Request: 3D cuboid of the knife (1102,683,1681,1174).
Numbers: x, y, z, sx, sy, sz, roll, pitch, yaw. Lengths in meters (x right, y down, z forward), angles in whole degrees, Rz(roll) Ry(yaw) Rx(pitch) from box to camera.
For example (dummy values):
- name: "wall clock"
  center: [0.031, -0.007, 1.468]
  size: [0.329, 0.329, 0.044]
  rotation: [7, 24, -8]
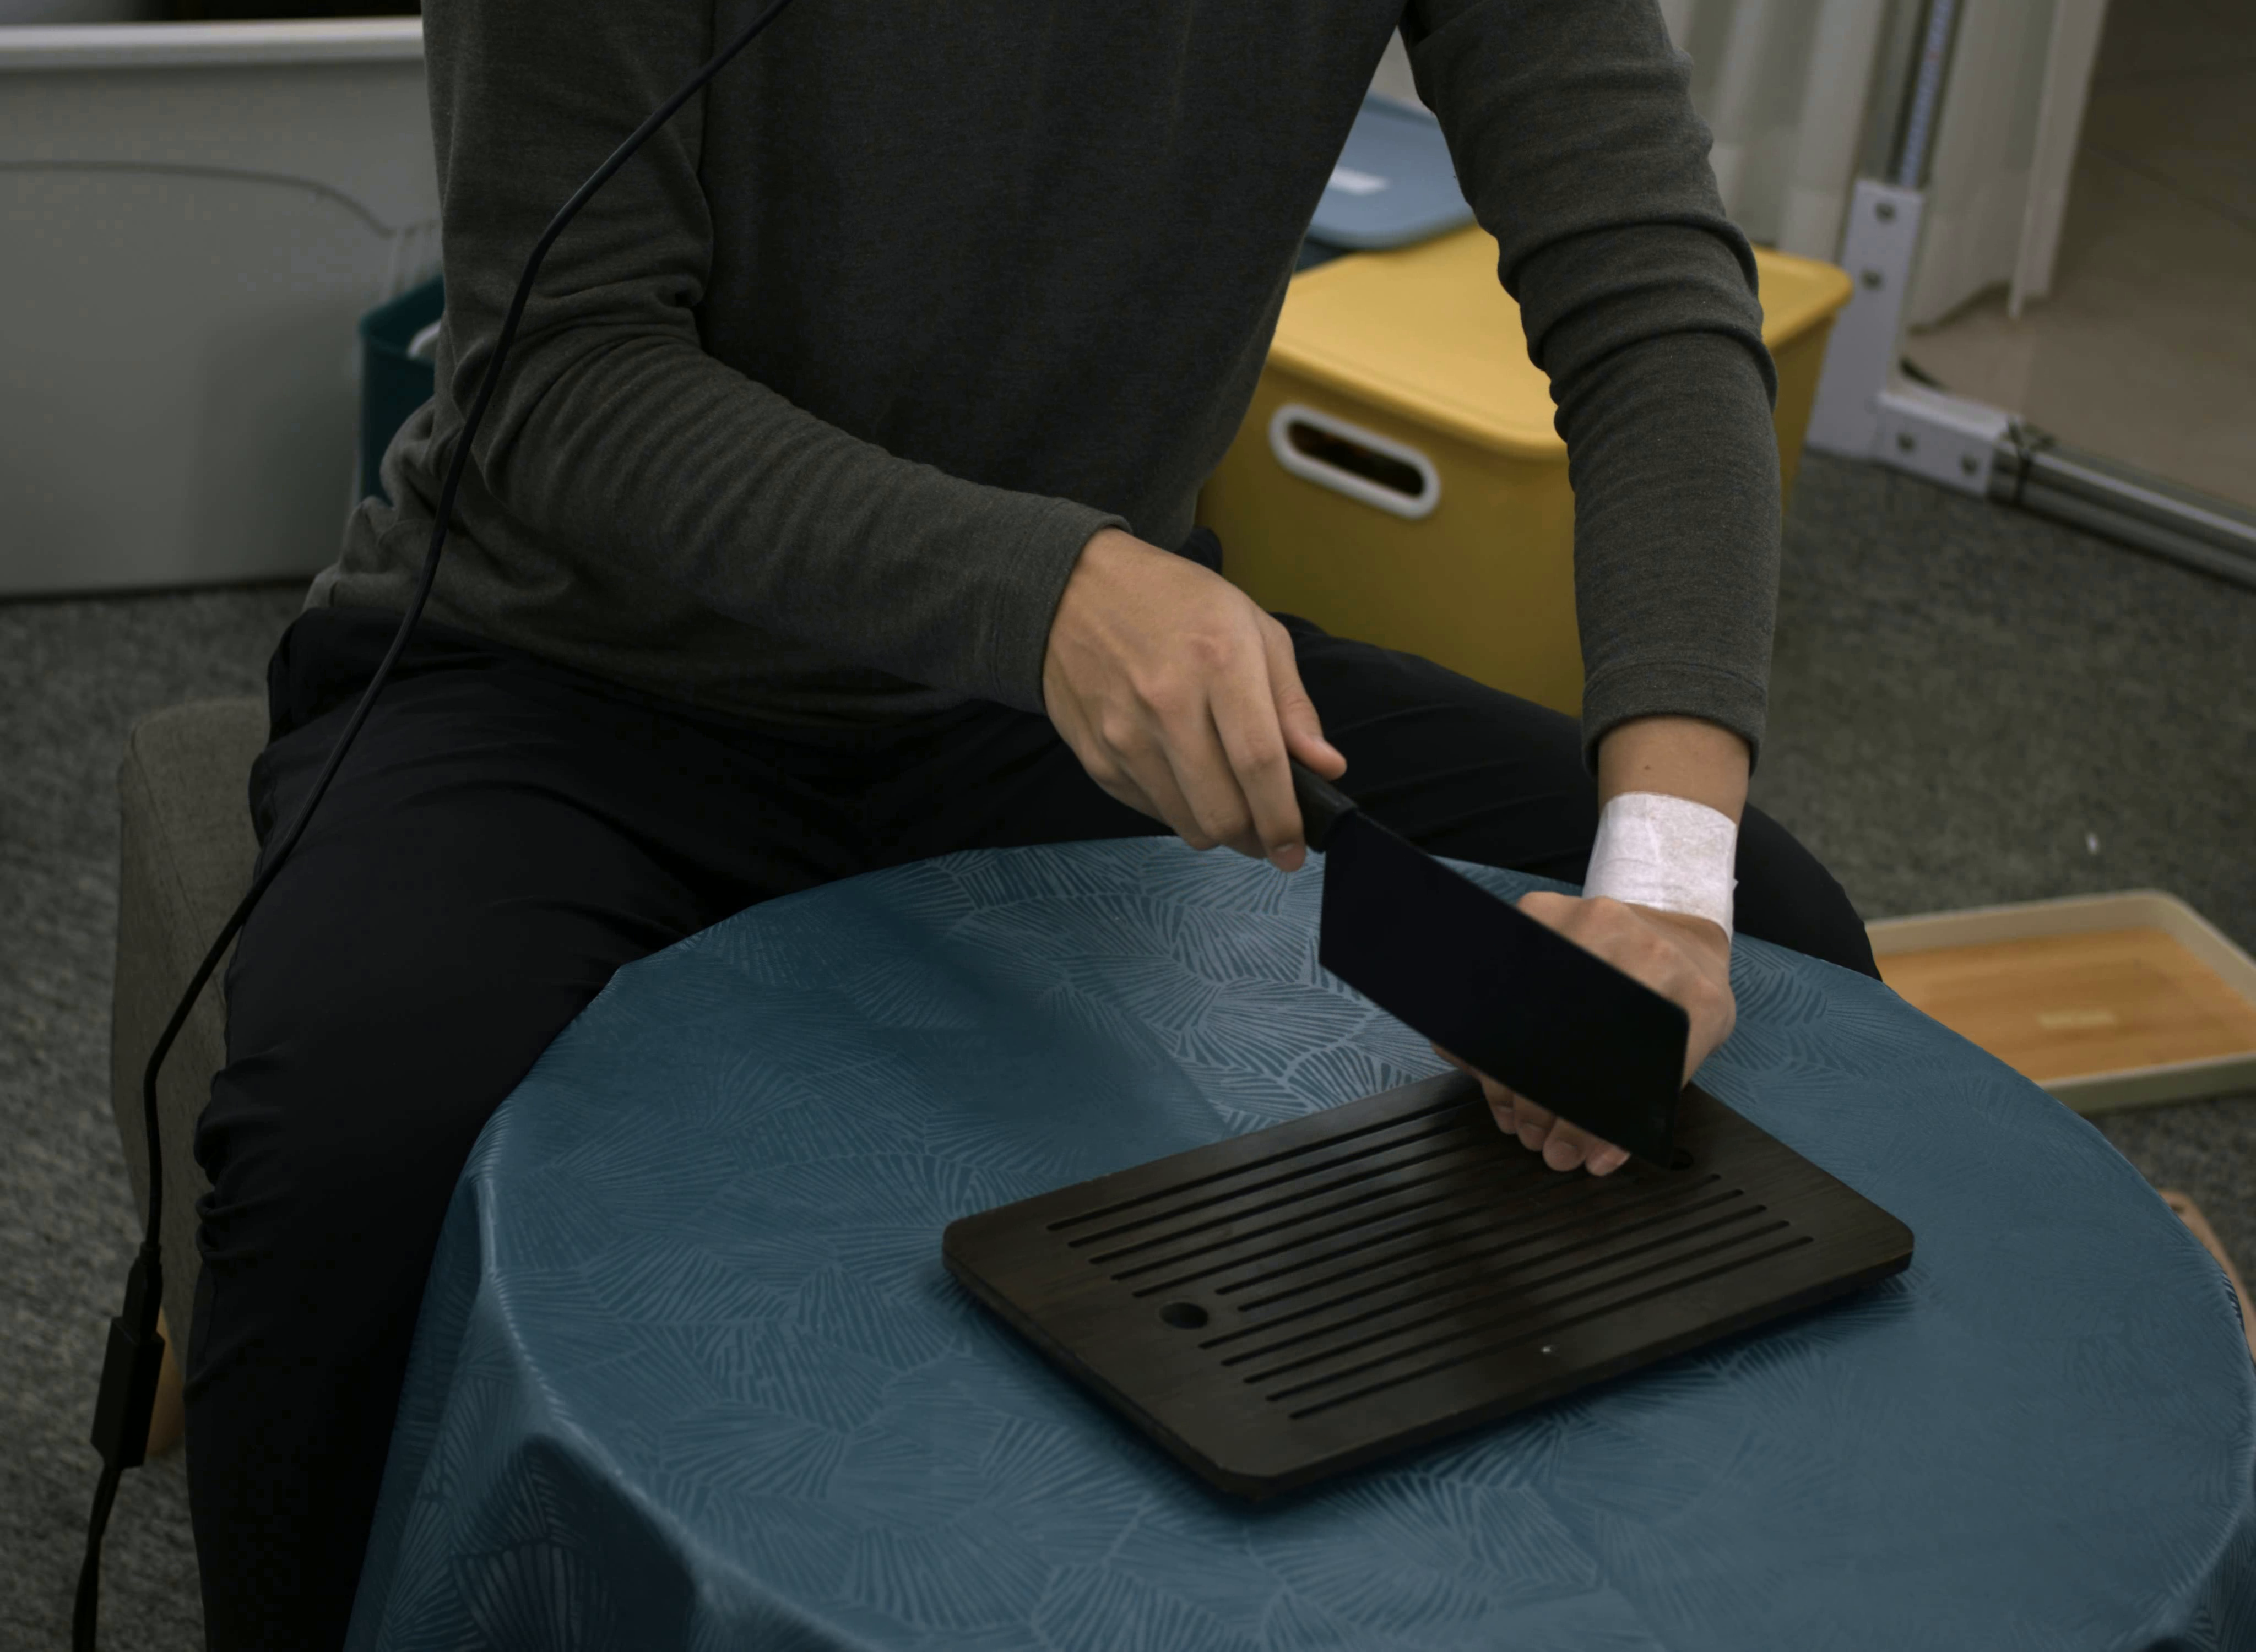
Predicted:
- name: "knife"
  center: [0.086, 0.028, 1.816]
  size: [0.021, 0.080, 0.305]
  rotation: [-13, 35, -35]

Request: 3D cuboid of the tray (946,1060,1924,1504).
- name: "tray"
  center: [0.104, 0.144, 1.768]
  size: [0.304, 0.018, 0.171]
  rotation: [-14, 32, -35]
